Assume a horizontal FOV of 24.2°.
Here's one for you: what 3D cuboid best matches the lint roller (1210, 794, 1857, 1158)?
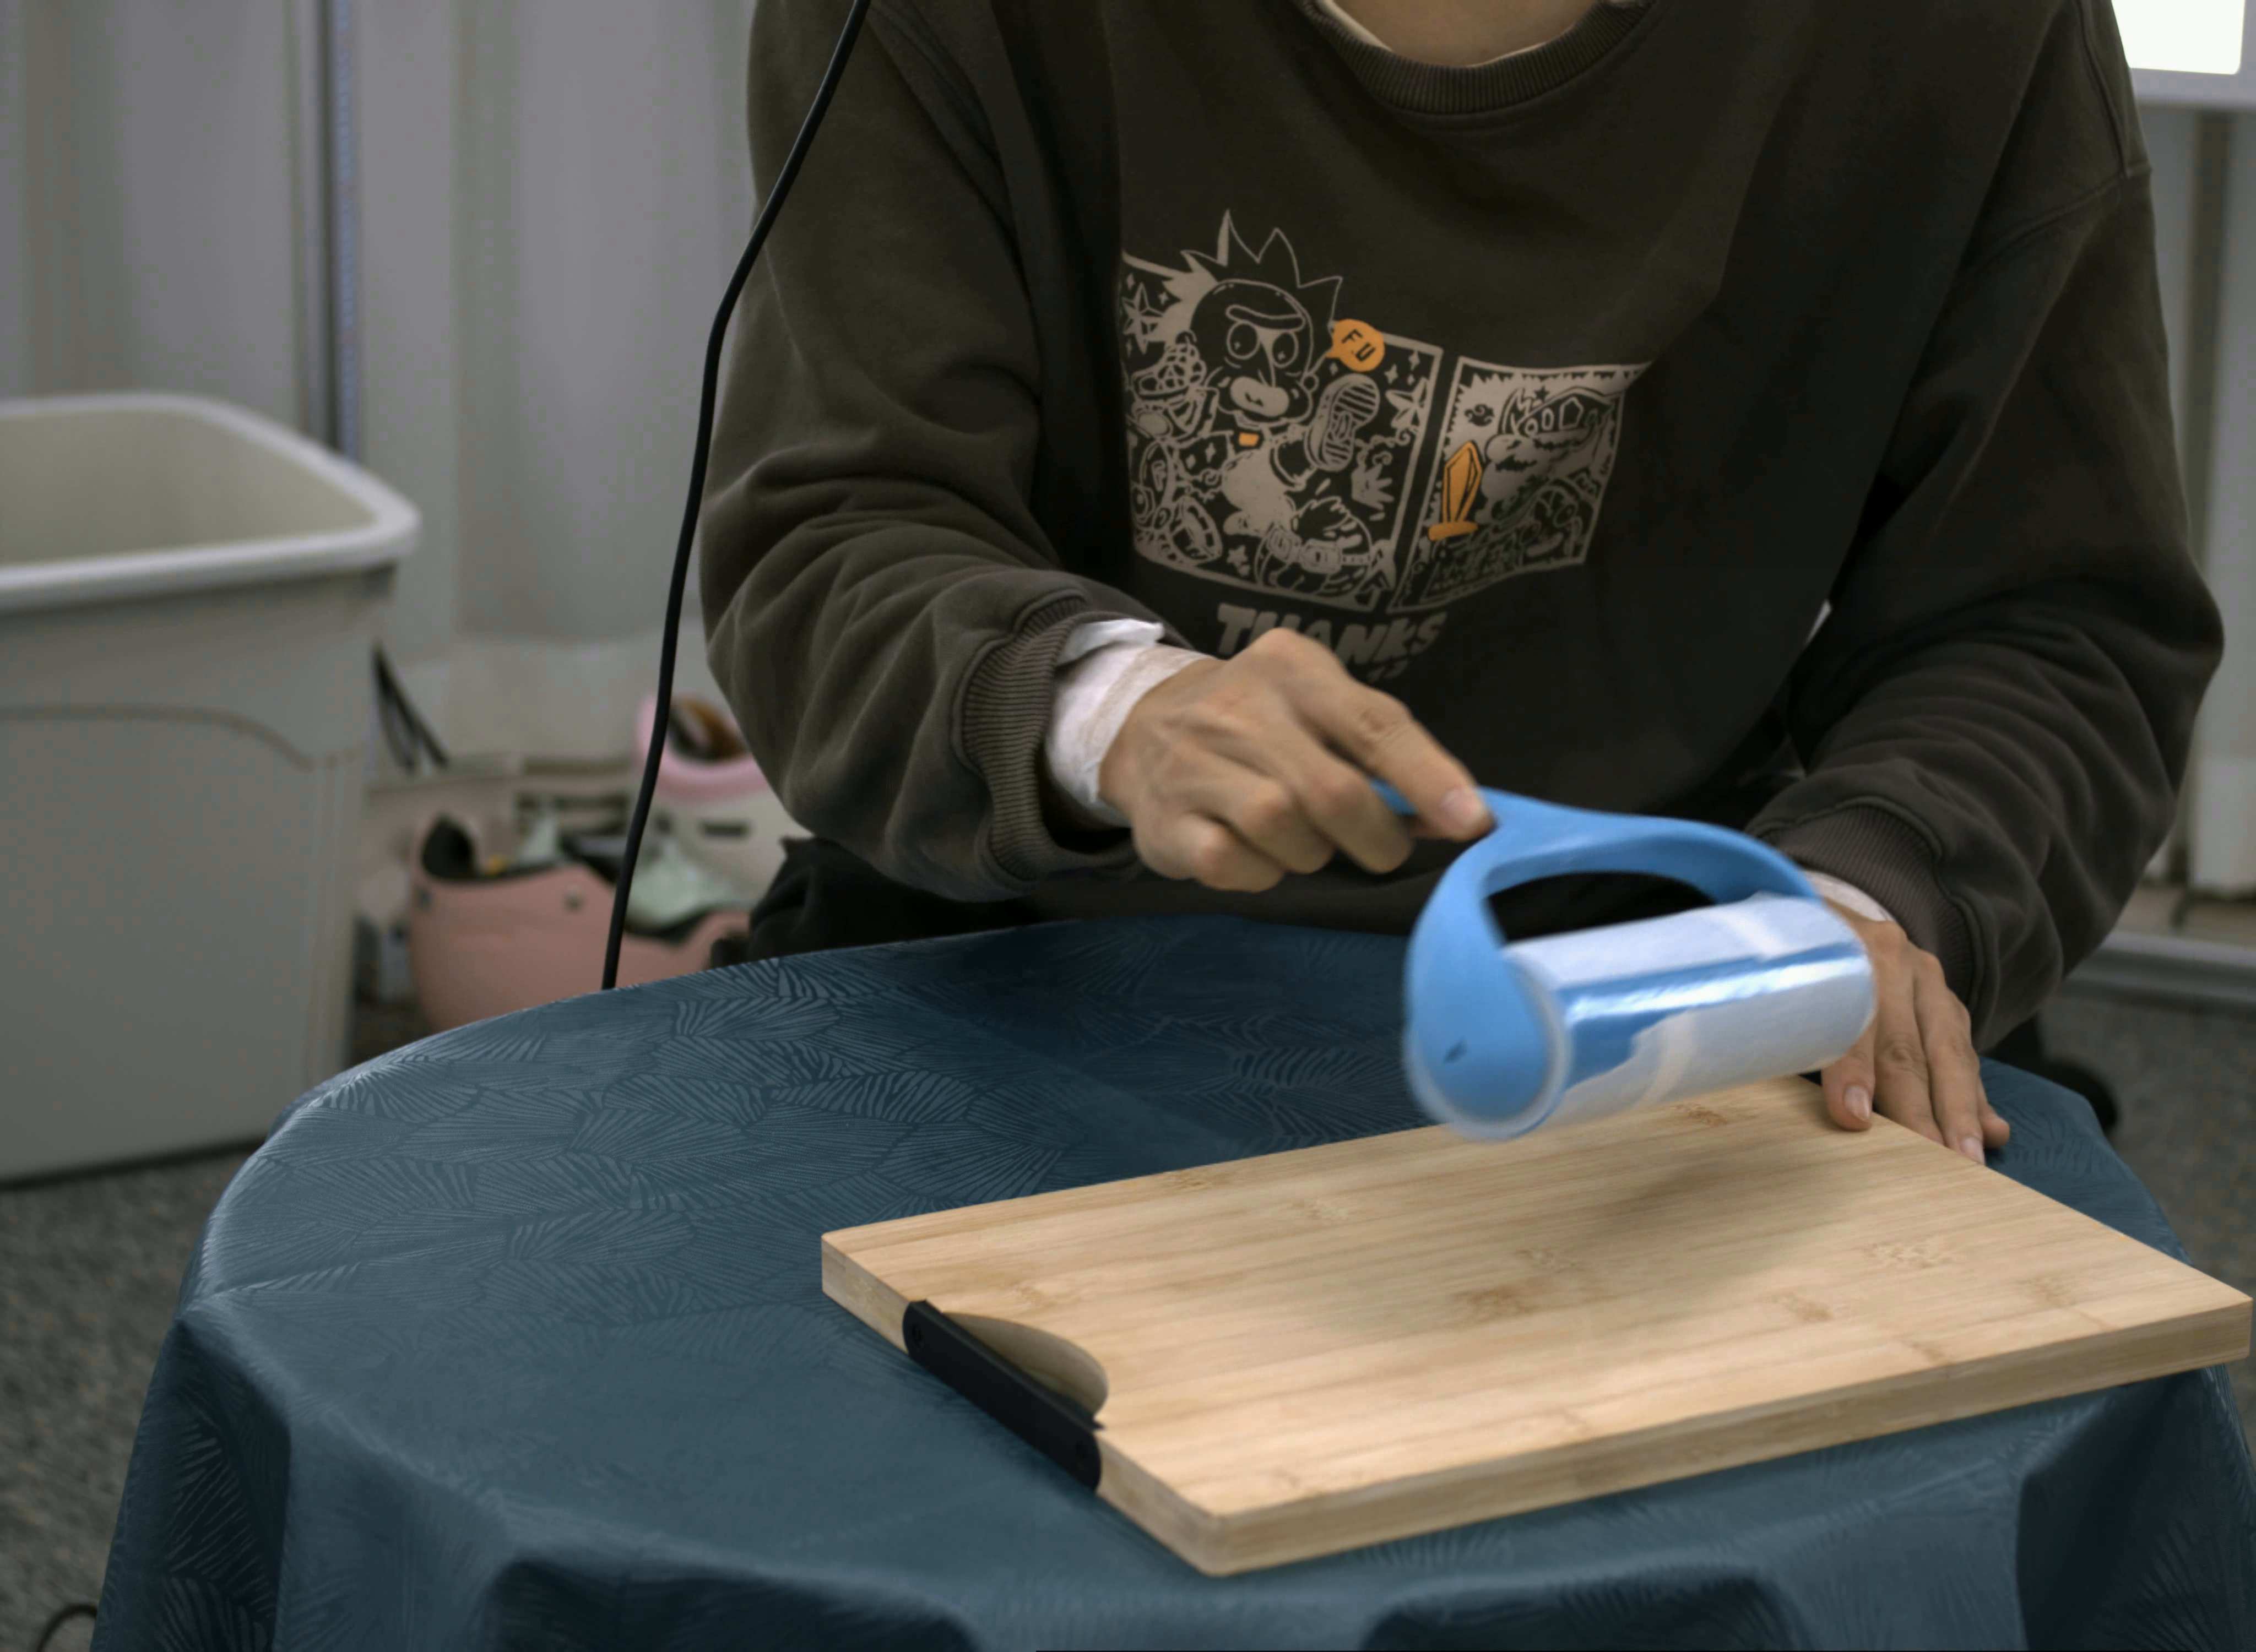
[{"bbox_3d":[0.103,0.026,1.555,0.178,0.068,0.230,35,23,23],"label":"lint roller"}]

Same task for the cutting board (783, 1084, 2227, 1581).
[{"bbox_3d":[0.108,0.137,1.519,0.350,0.024,0.247,-8,17,-28],"label":"cutting board"}]
